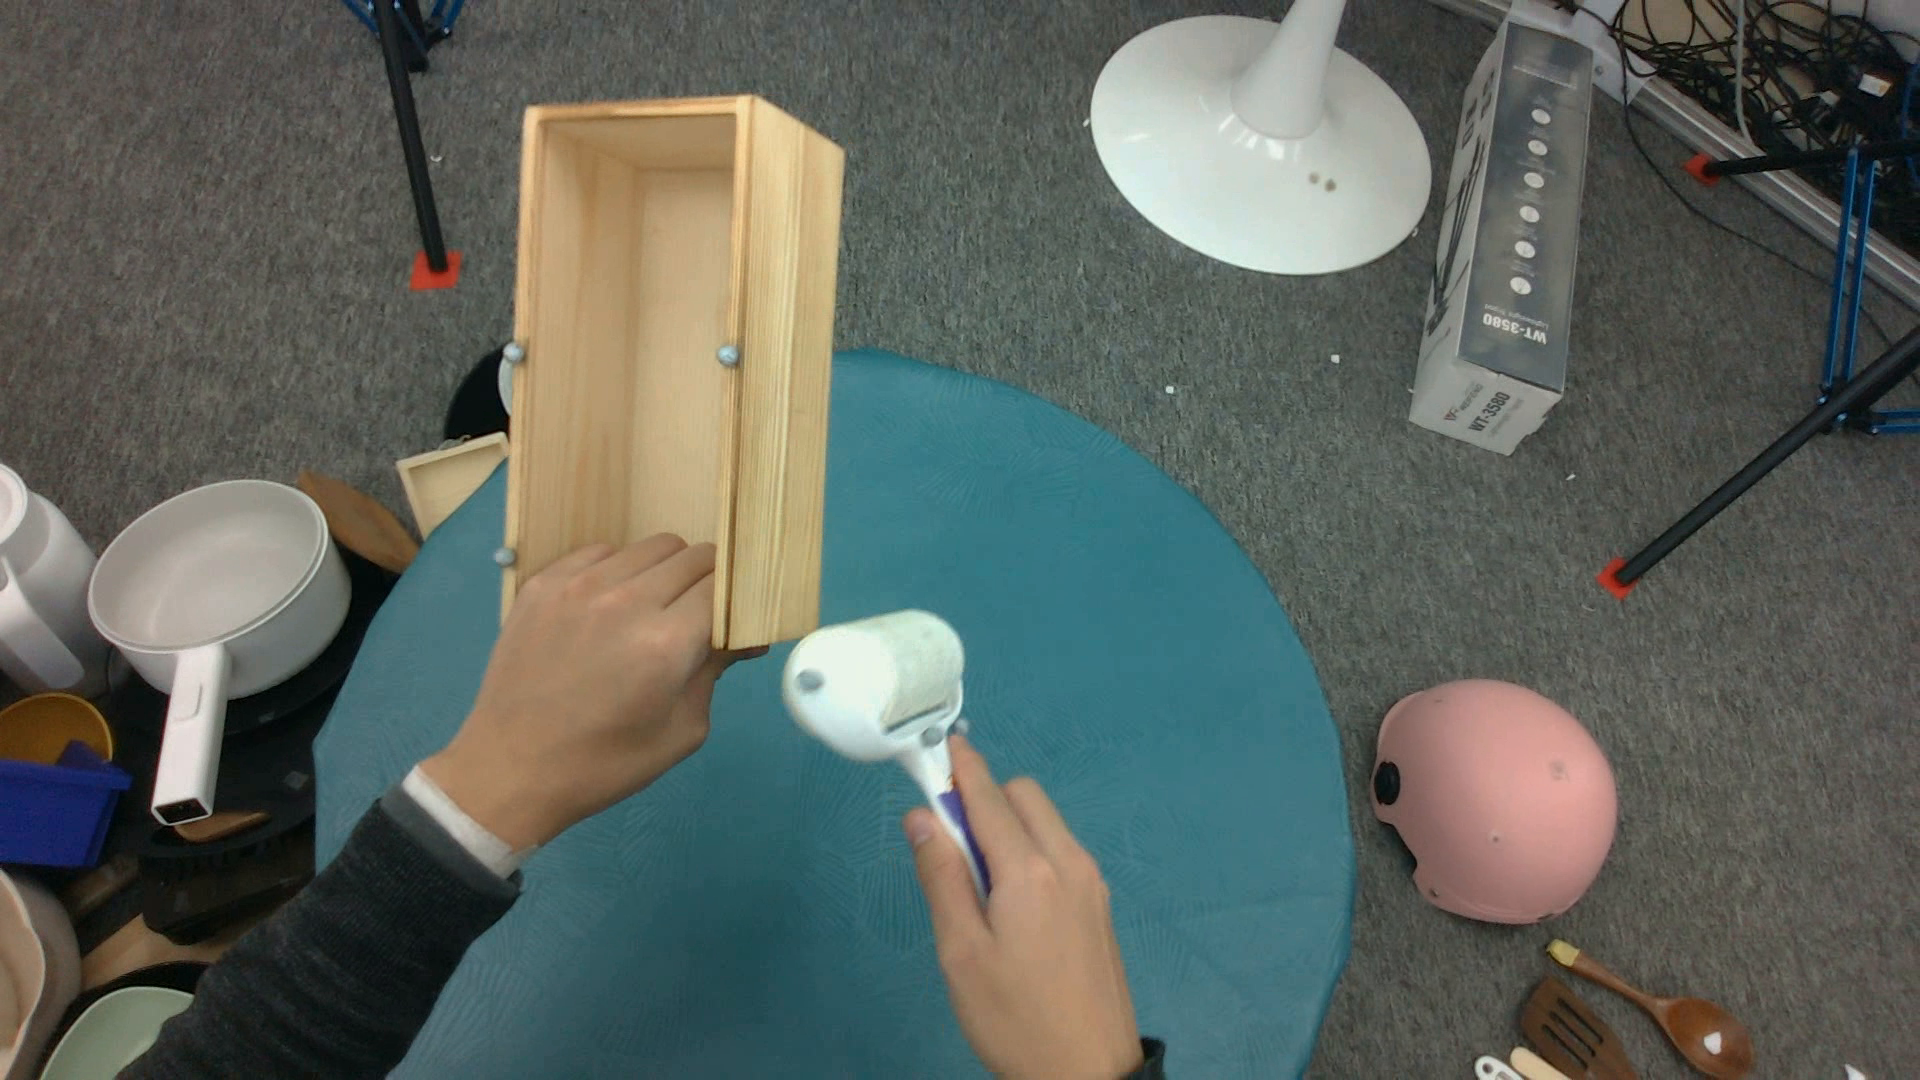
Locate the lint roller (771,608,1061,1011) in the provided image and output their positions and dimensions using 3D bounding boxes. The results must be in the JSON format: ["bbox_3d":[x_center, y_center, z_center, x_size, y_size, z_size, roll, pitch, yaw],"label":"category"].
[{"bbox_3d":[-0.001,0.108,0.568,0.050,0.133,0.181,-39,80,12],"label":"lint roller"}]

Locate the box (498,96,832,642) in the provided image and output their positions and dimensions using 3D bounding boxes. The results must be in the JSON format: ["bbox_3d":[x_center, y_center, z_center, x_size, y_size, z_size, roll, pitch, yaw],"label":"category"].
[{"bbox_3d":[-0.122,-0.069,0.582,0.107,0.080,0.211,3,91,19],"label":"box"}]
